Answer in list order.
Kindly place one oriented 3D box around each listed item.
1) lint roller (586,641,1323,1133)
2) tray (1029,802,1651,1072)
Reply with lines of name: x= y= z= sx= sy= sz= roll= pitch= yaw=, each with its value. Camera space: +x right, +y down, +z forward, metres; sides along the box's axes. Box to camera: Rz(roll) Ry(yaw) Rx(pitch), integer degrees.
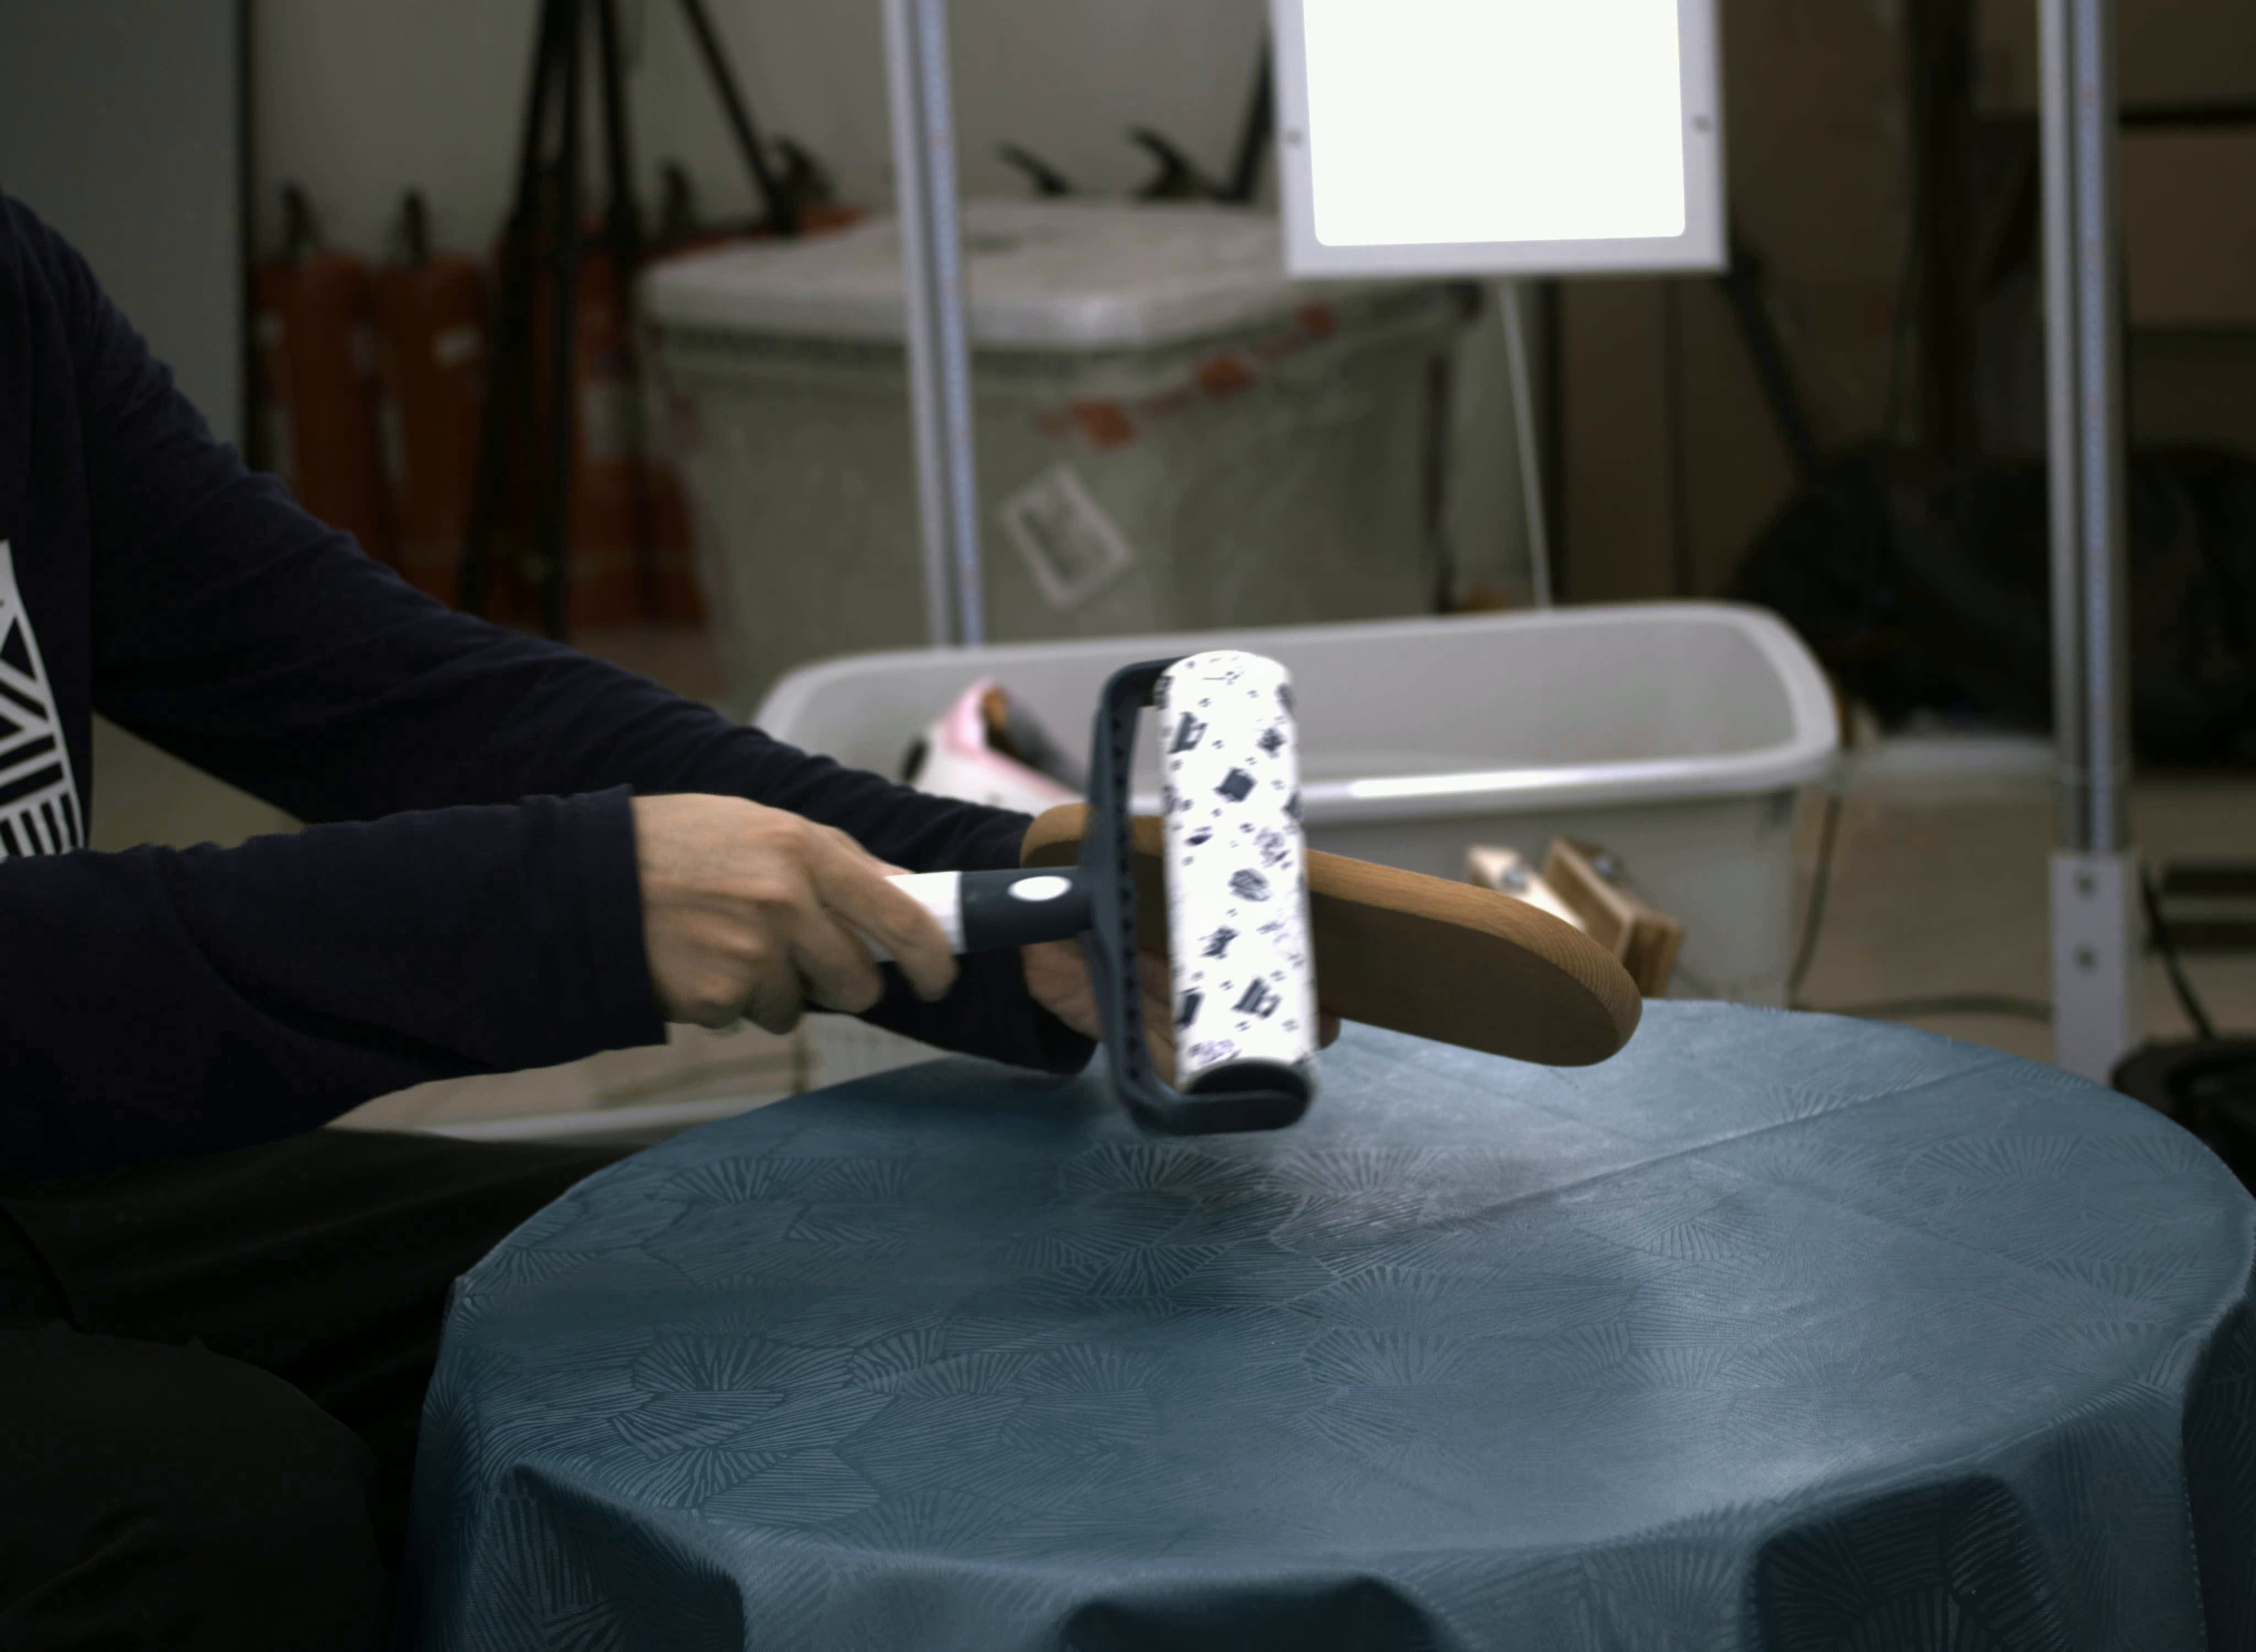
lint roller: x=-0.061 y=0.030 z=1.836 sx=0.247 sy=0.050 sz=0.176 roll=-7 pitch=58 yaw=6
tray: x=0.070 y=0.039 z=1.892 sx=0.235 sy=0.101 sz=0.020 roll=14 pitch=65 yaw=26
